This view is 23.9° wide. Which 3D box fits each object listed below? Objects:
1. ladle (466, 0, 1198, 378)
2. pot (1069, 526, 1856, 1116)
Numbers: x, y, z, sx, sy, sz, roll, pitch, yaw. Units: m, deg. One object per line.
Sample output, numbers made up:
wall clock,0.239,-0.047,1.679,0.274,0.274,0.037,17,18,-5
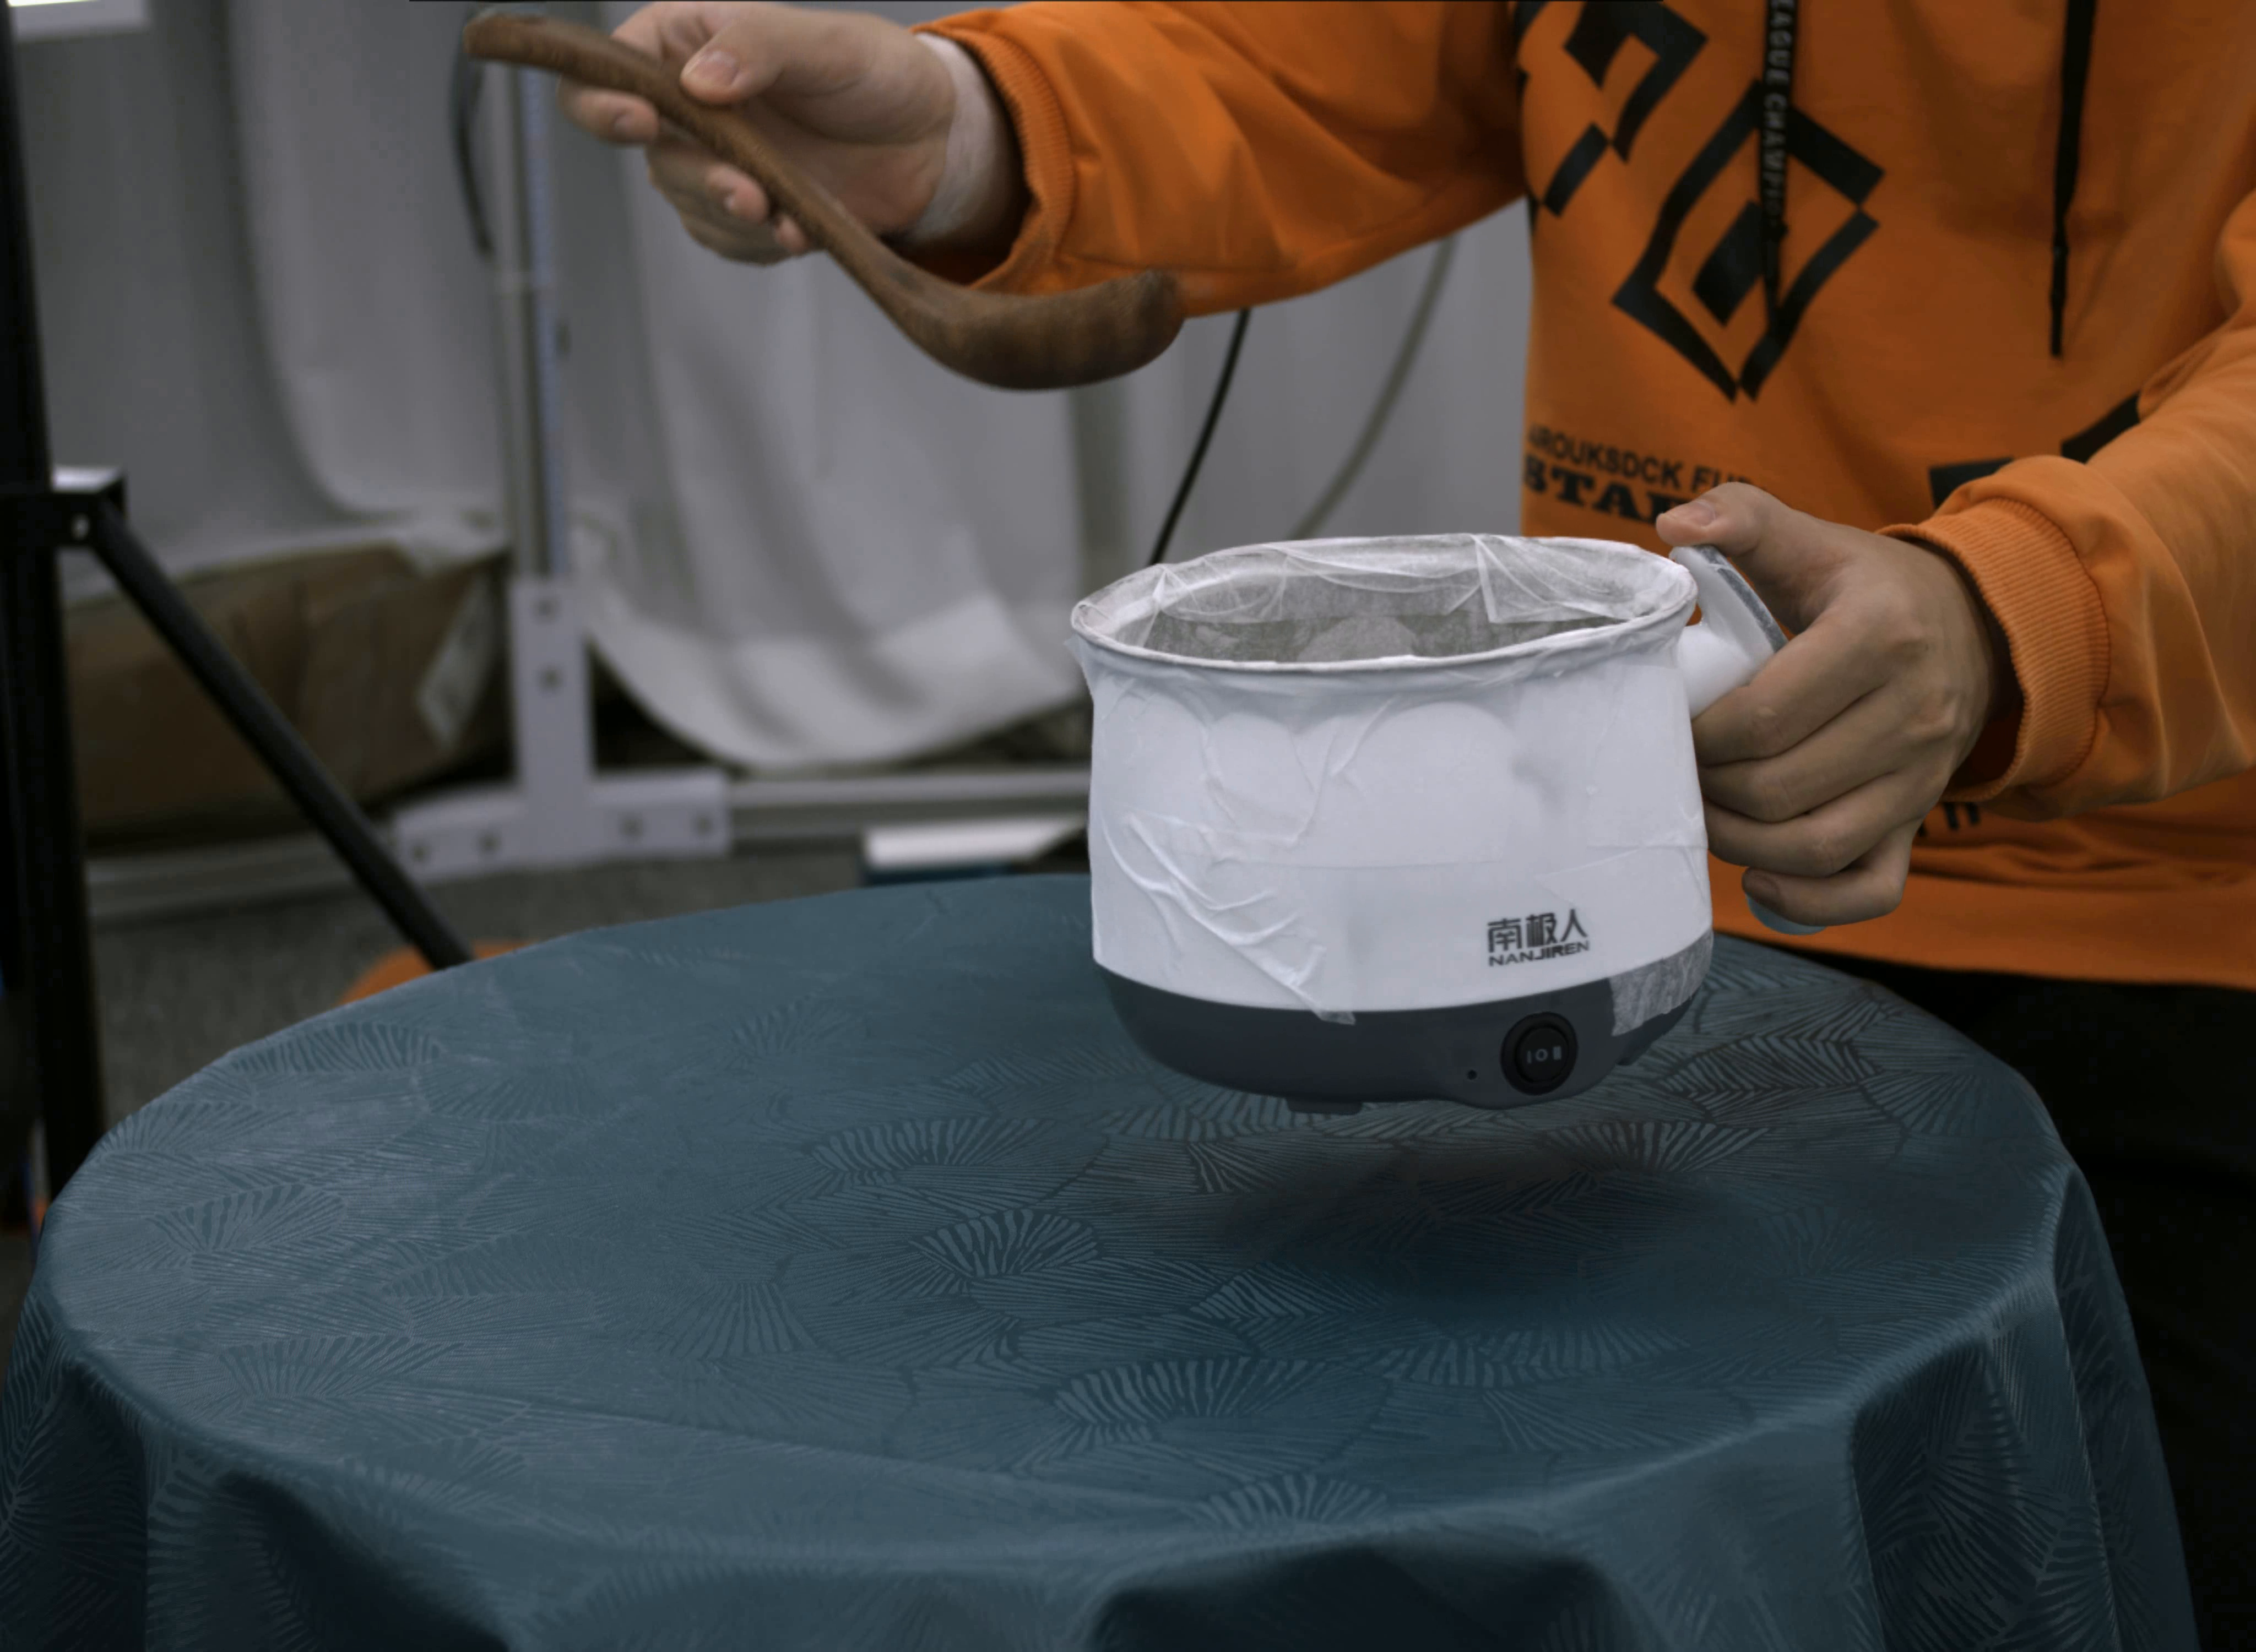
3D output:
ladle,-0.091,-0.204,1.595,0.264,0.065,0.075,36,22,23
pot,0.100,-0.008,1.518,0.229,0.136,0.182,-10,15,-21
